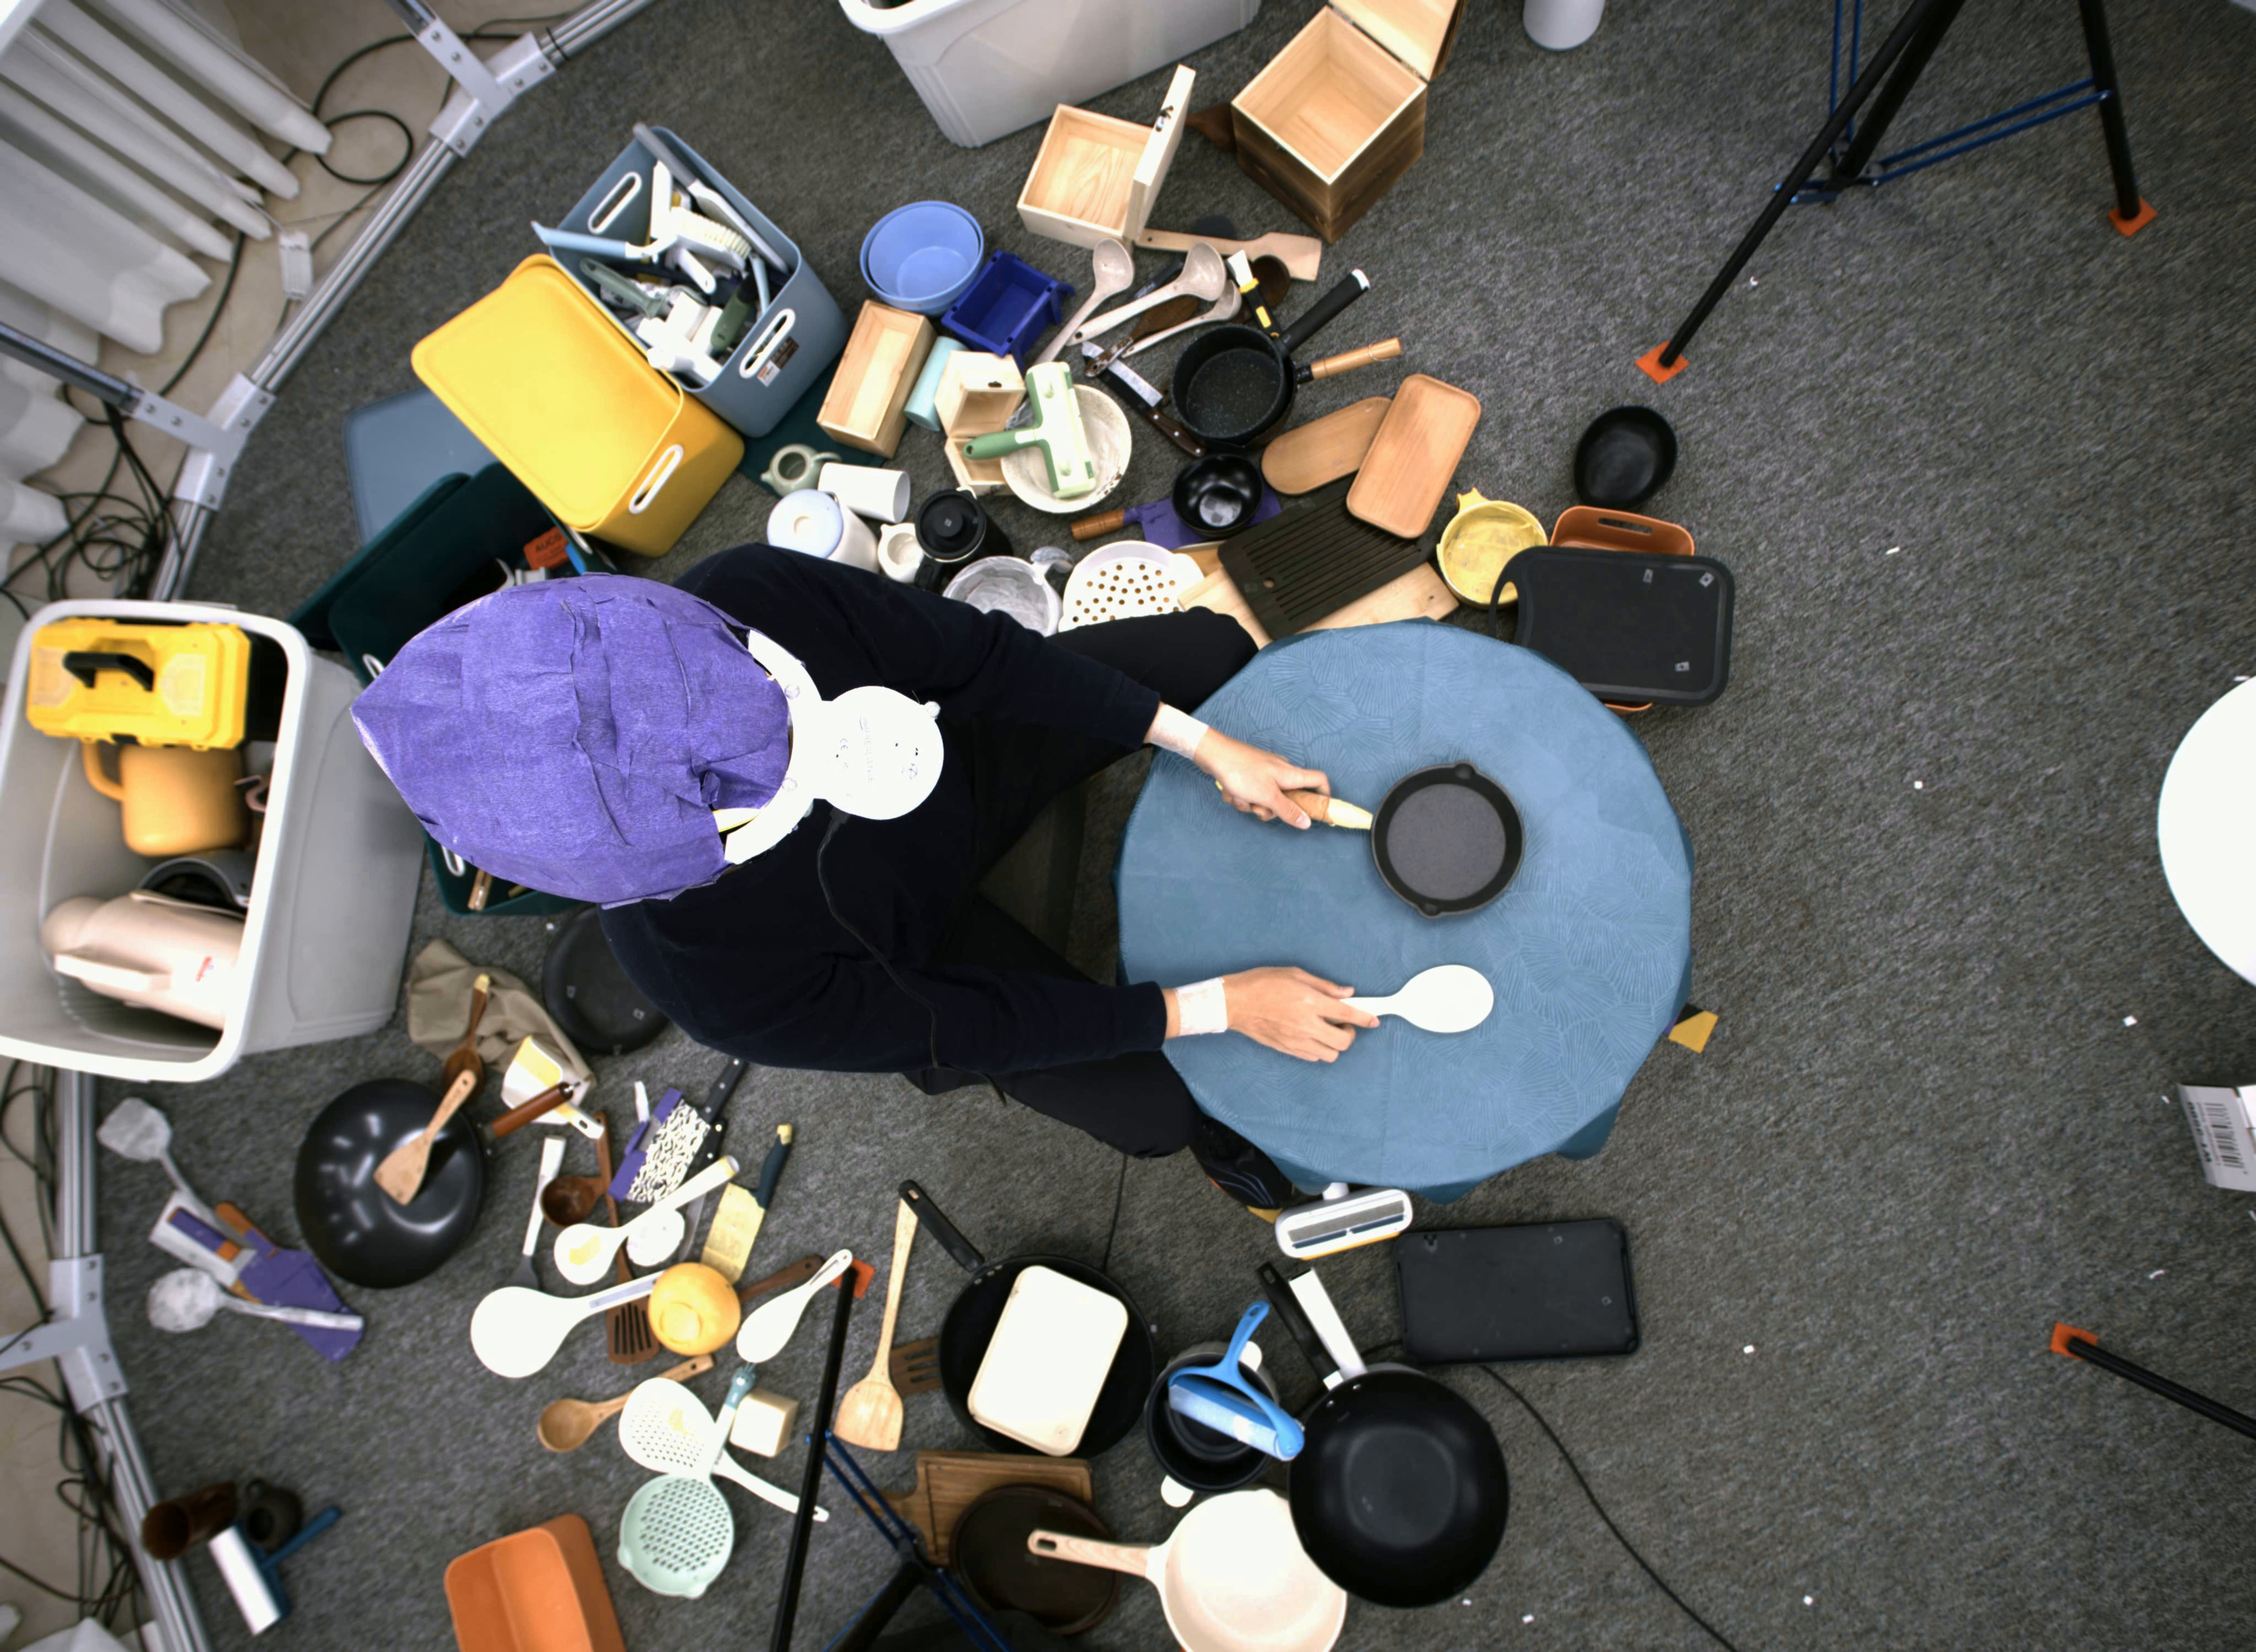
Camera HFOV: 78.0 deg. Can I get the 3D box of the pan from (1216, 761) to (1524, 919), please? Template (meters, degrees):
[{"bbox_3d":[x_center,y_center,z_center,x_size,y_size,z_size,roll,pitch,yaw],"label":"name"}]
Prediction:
[{"bbox_3d":[0.250,-0.010,1.442,0.324,0.049,0.169,16,90,9],"label":"pan"}]

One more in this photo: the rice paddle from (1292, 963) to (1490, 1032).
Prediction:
[{"bbox_3d":[0.274,0.183,1.438,0.206,0.029,0.068,-9,77,10],"label":"rice paddle"}]
